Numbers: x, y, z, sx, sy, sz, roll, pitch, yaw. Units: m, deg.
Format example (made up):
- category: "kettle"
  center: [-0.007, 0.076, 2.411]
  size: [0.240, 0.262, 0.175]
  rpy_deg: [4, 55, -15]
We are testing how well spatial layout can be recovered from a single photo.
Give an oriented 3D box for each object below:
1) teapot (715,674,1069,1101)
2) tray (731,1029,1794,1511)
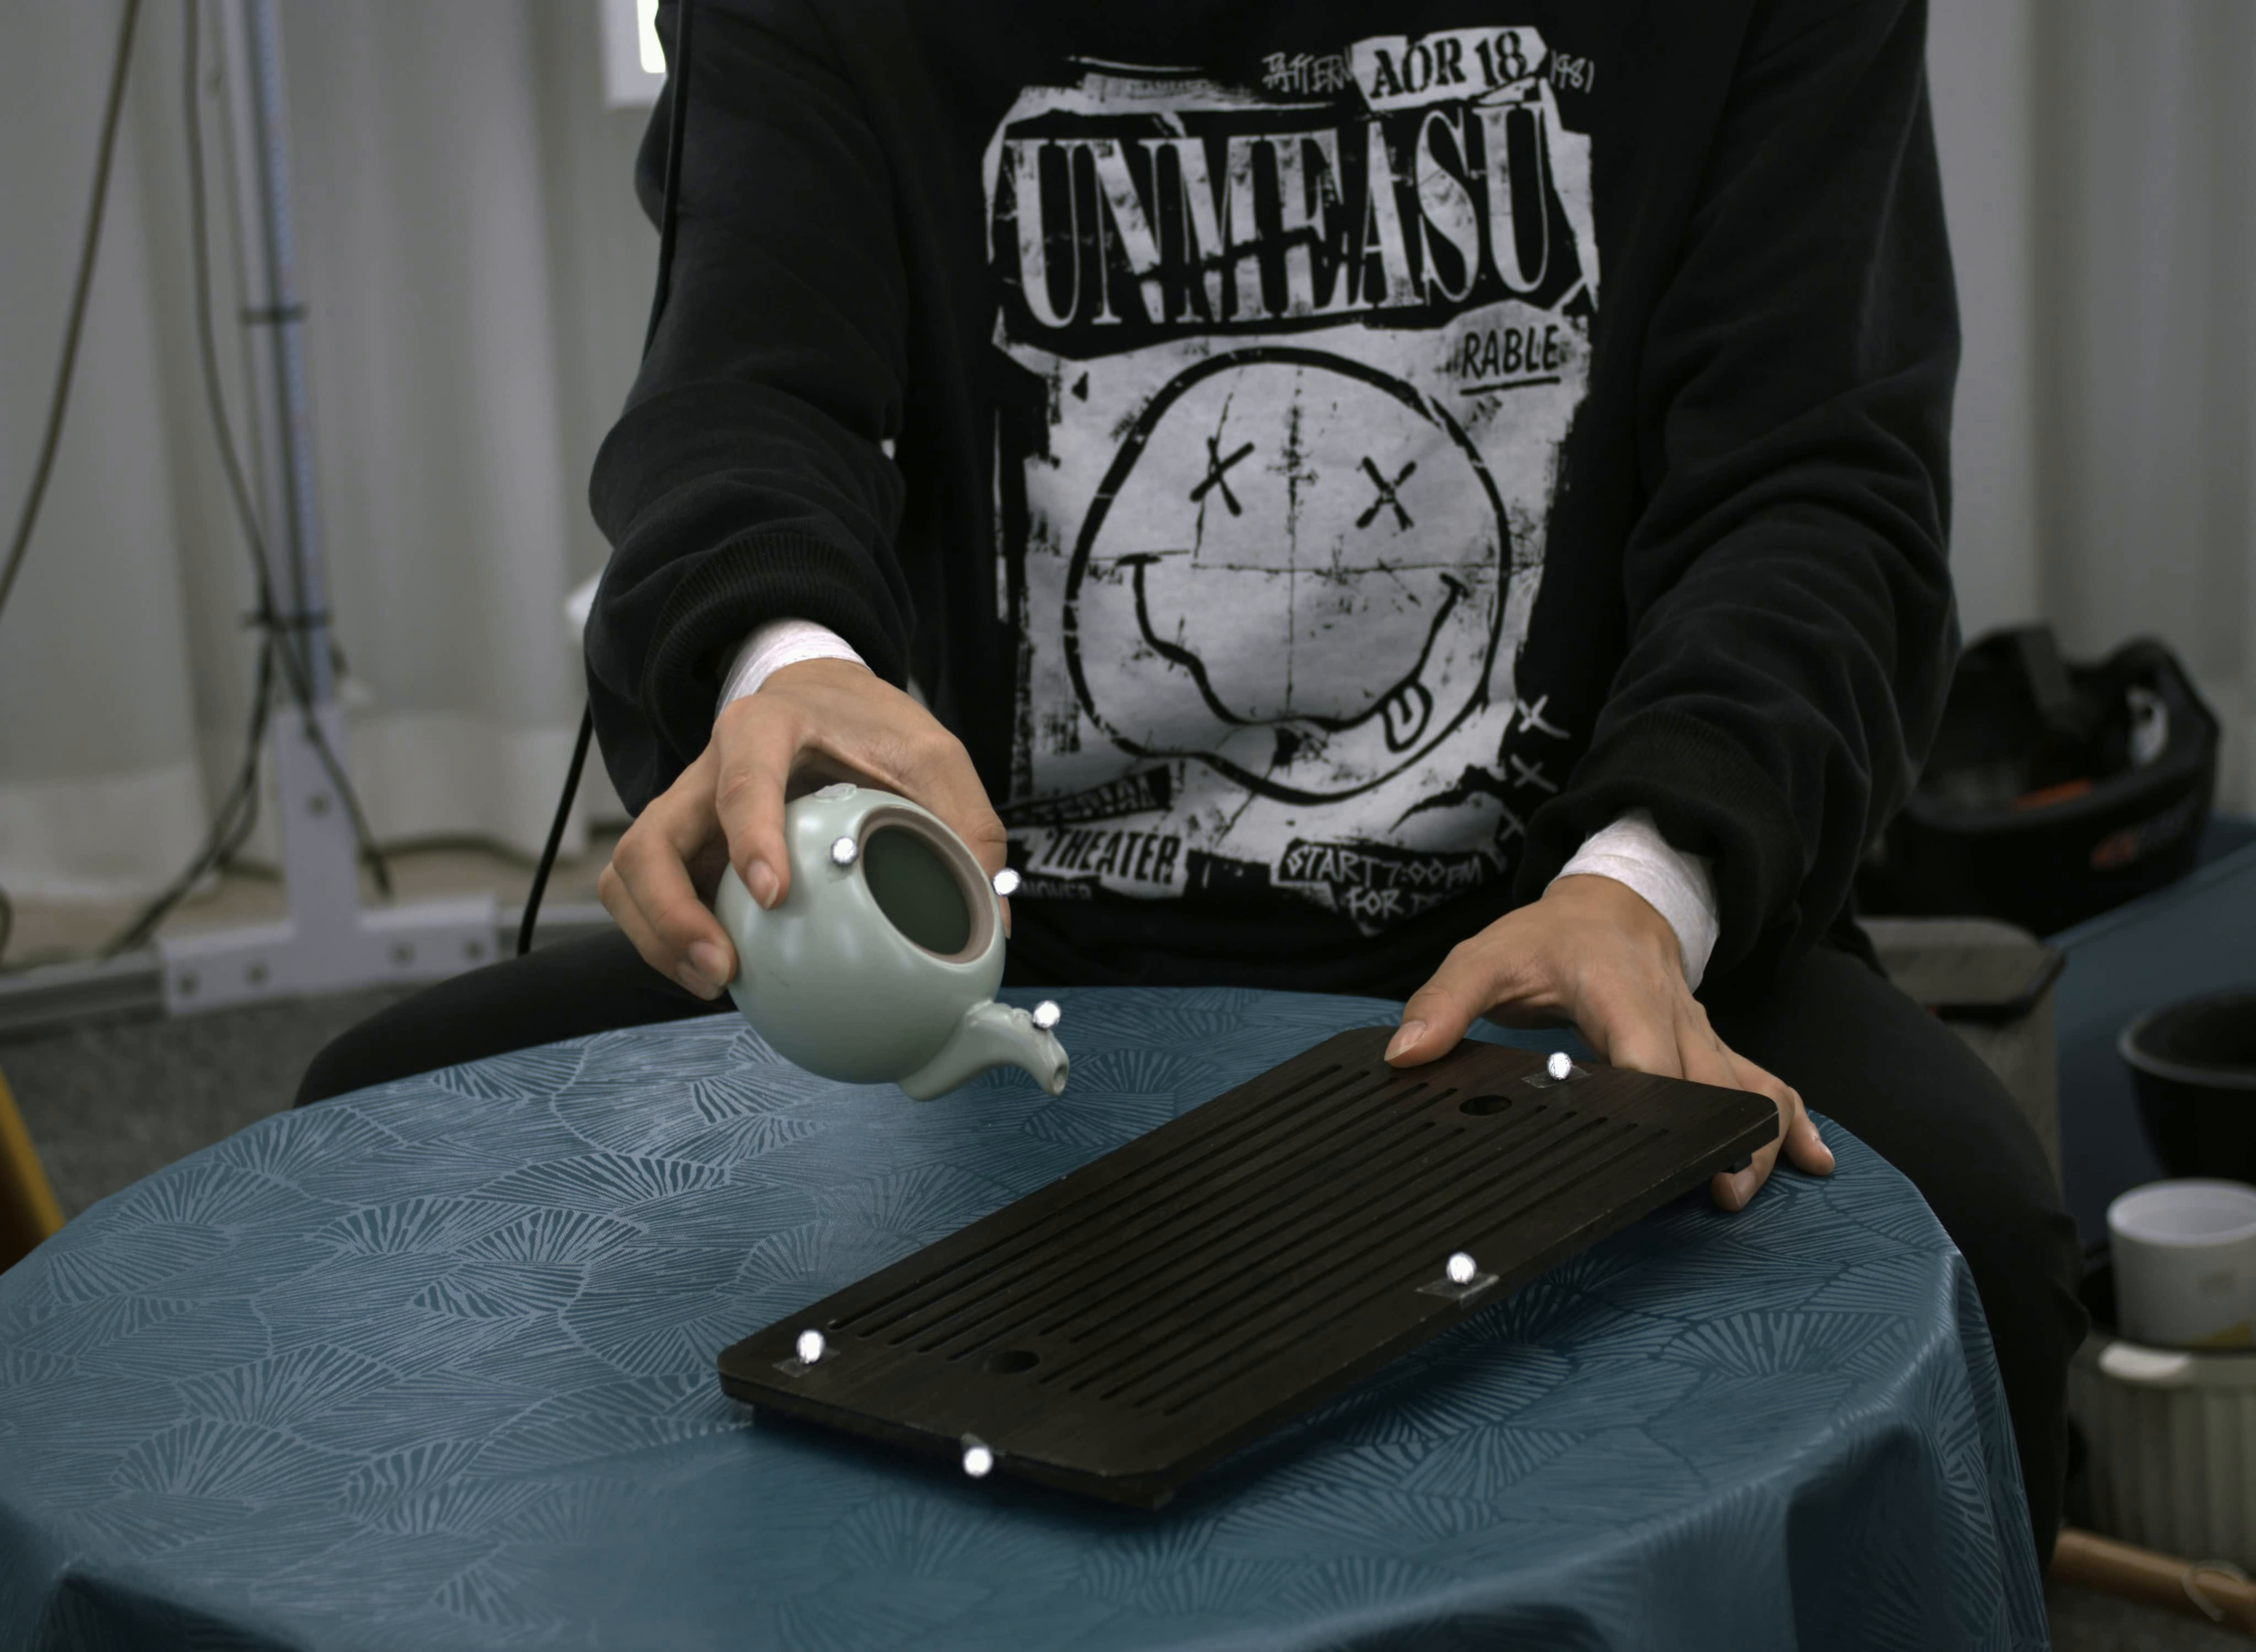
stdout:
- category: "teapot"
  center: [-0.077, 0.031, 1.600]
  size: [0.074, 0.144, 0.088]
  rpy_deg: [-34, -6, 32]
- category: "tray"
  center: [0.044, 0.125, 1.589]
  size: [0.171, 0.018, 0.306]
  rpy_deg: [9, 23, 41]
